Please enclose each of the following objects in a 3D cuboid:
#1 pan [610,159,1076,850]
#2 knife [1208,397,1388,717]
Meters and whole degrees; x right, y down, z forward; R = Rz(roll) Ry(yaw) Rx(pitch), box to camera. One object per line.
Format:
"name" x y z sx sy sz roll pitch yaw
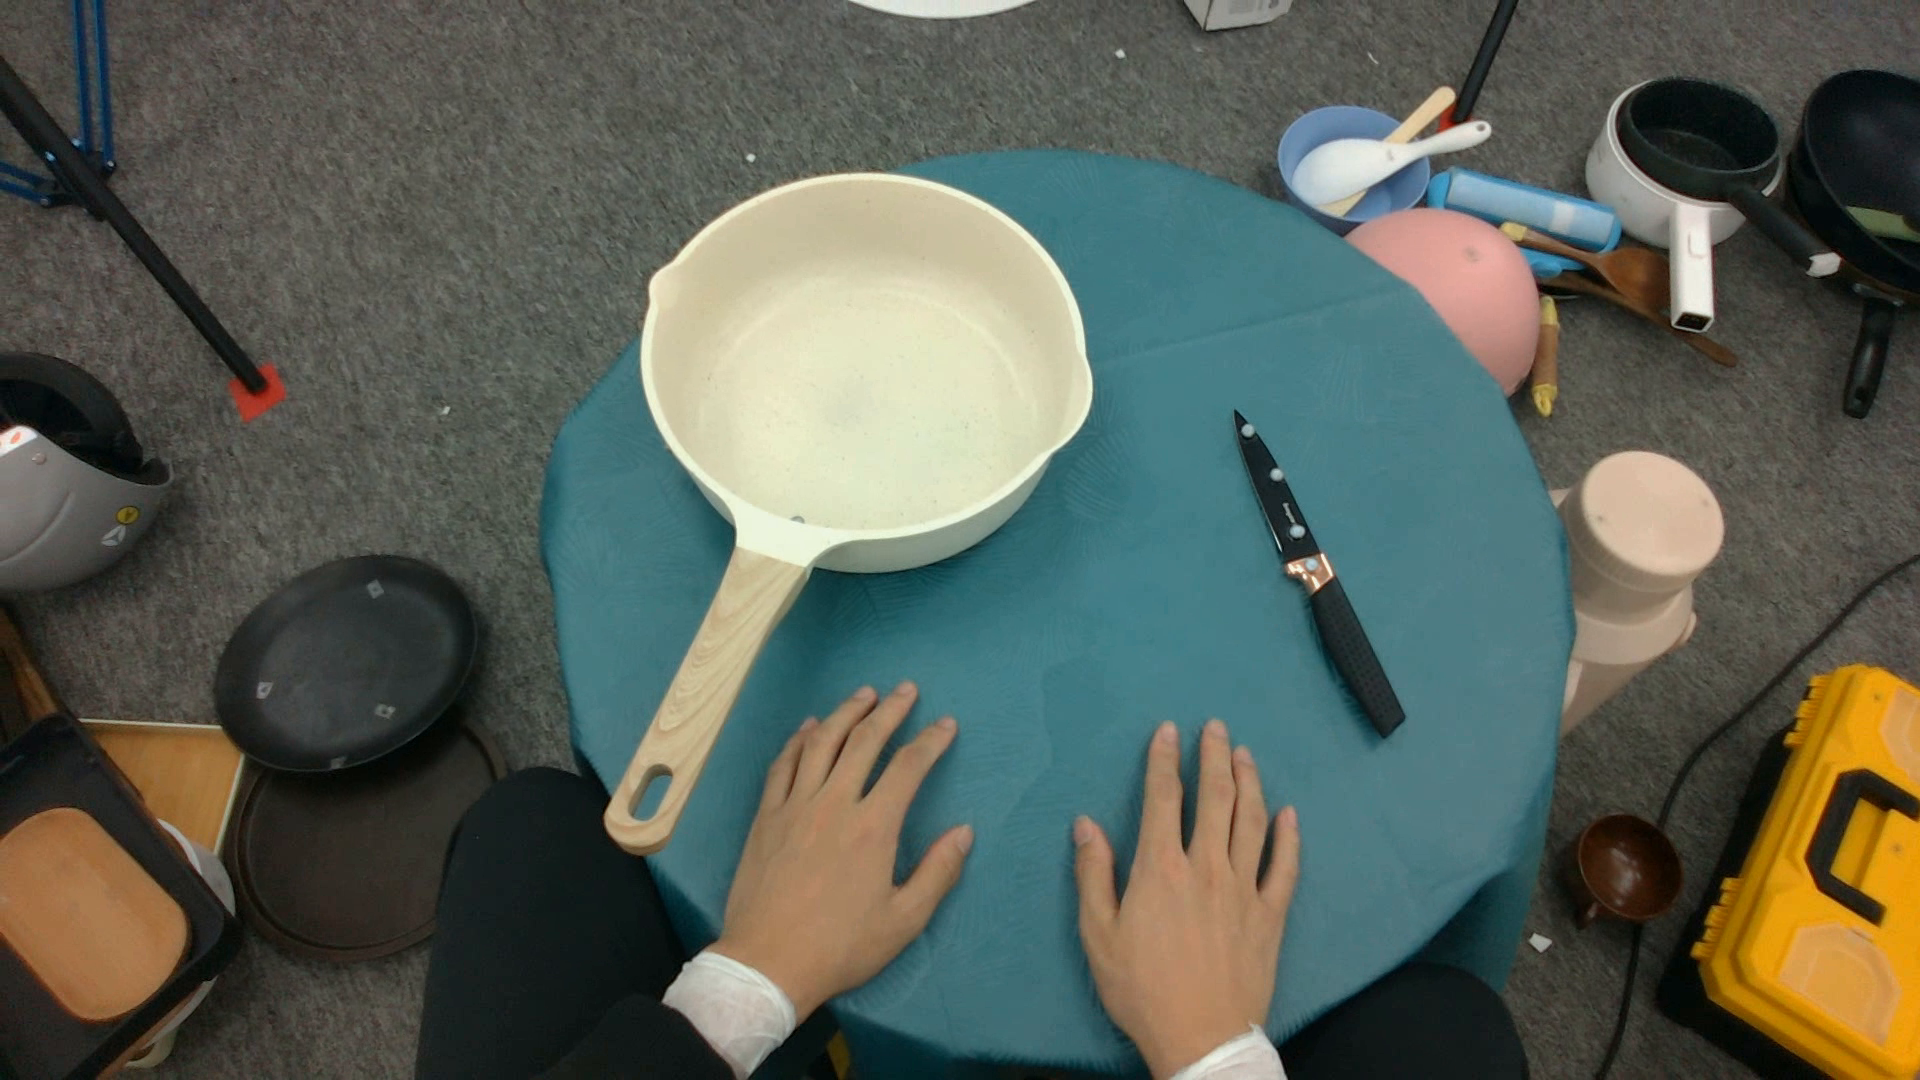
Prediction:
"pan" -0.091 -0.026 0.766 0.263 0.101 0.437 17 63 5
"knife" 0.197 0.003 0.814 0.026 0.017 0.226 -21 63 3
